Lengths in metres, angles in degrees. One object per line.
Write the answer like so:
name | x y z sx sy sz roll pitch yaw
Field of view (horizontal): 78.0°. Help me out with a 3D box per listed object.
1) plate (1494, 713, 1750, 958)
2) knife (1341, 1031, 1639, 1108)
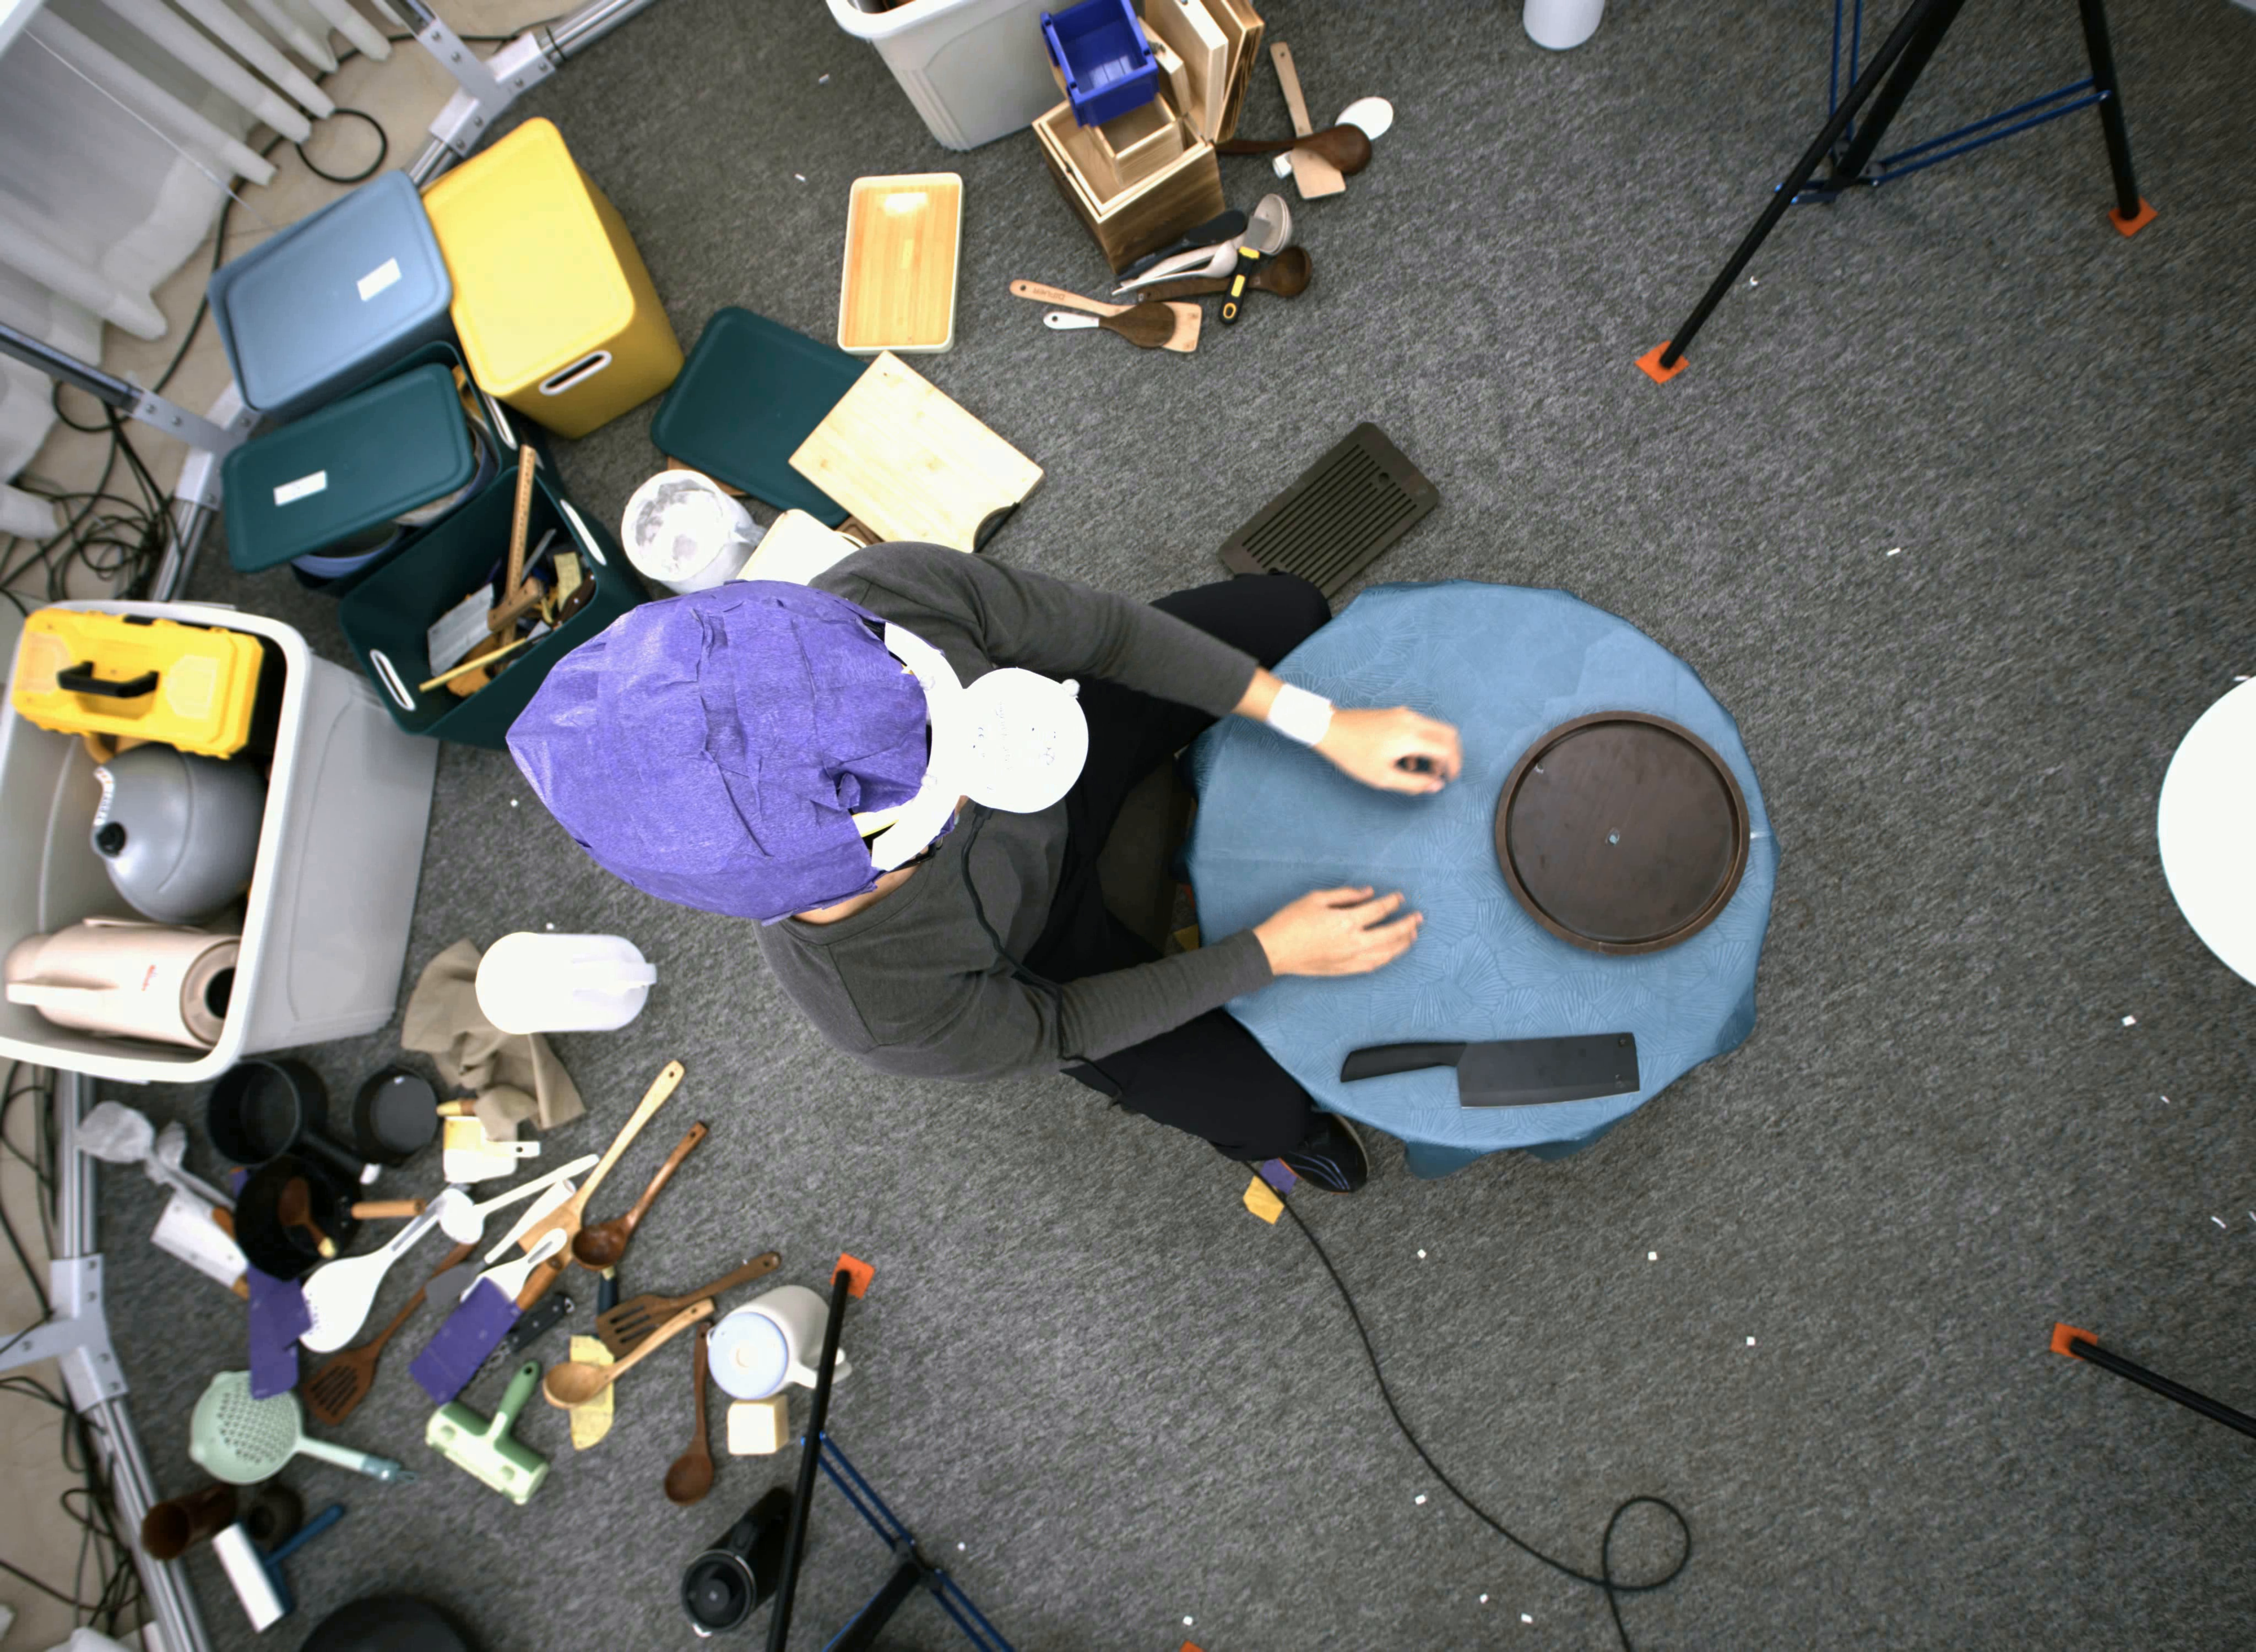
plate | 0.505 0.005 1.407 0.256 0.029 0.254 -1 88 10
knife | 0.372 0.249 1.424 0.303 0.021 0.080 -1 87 9
